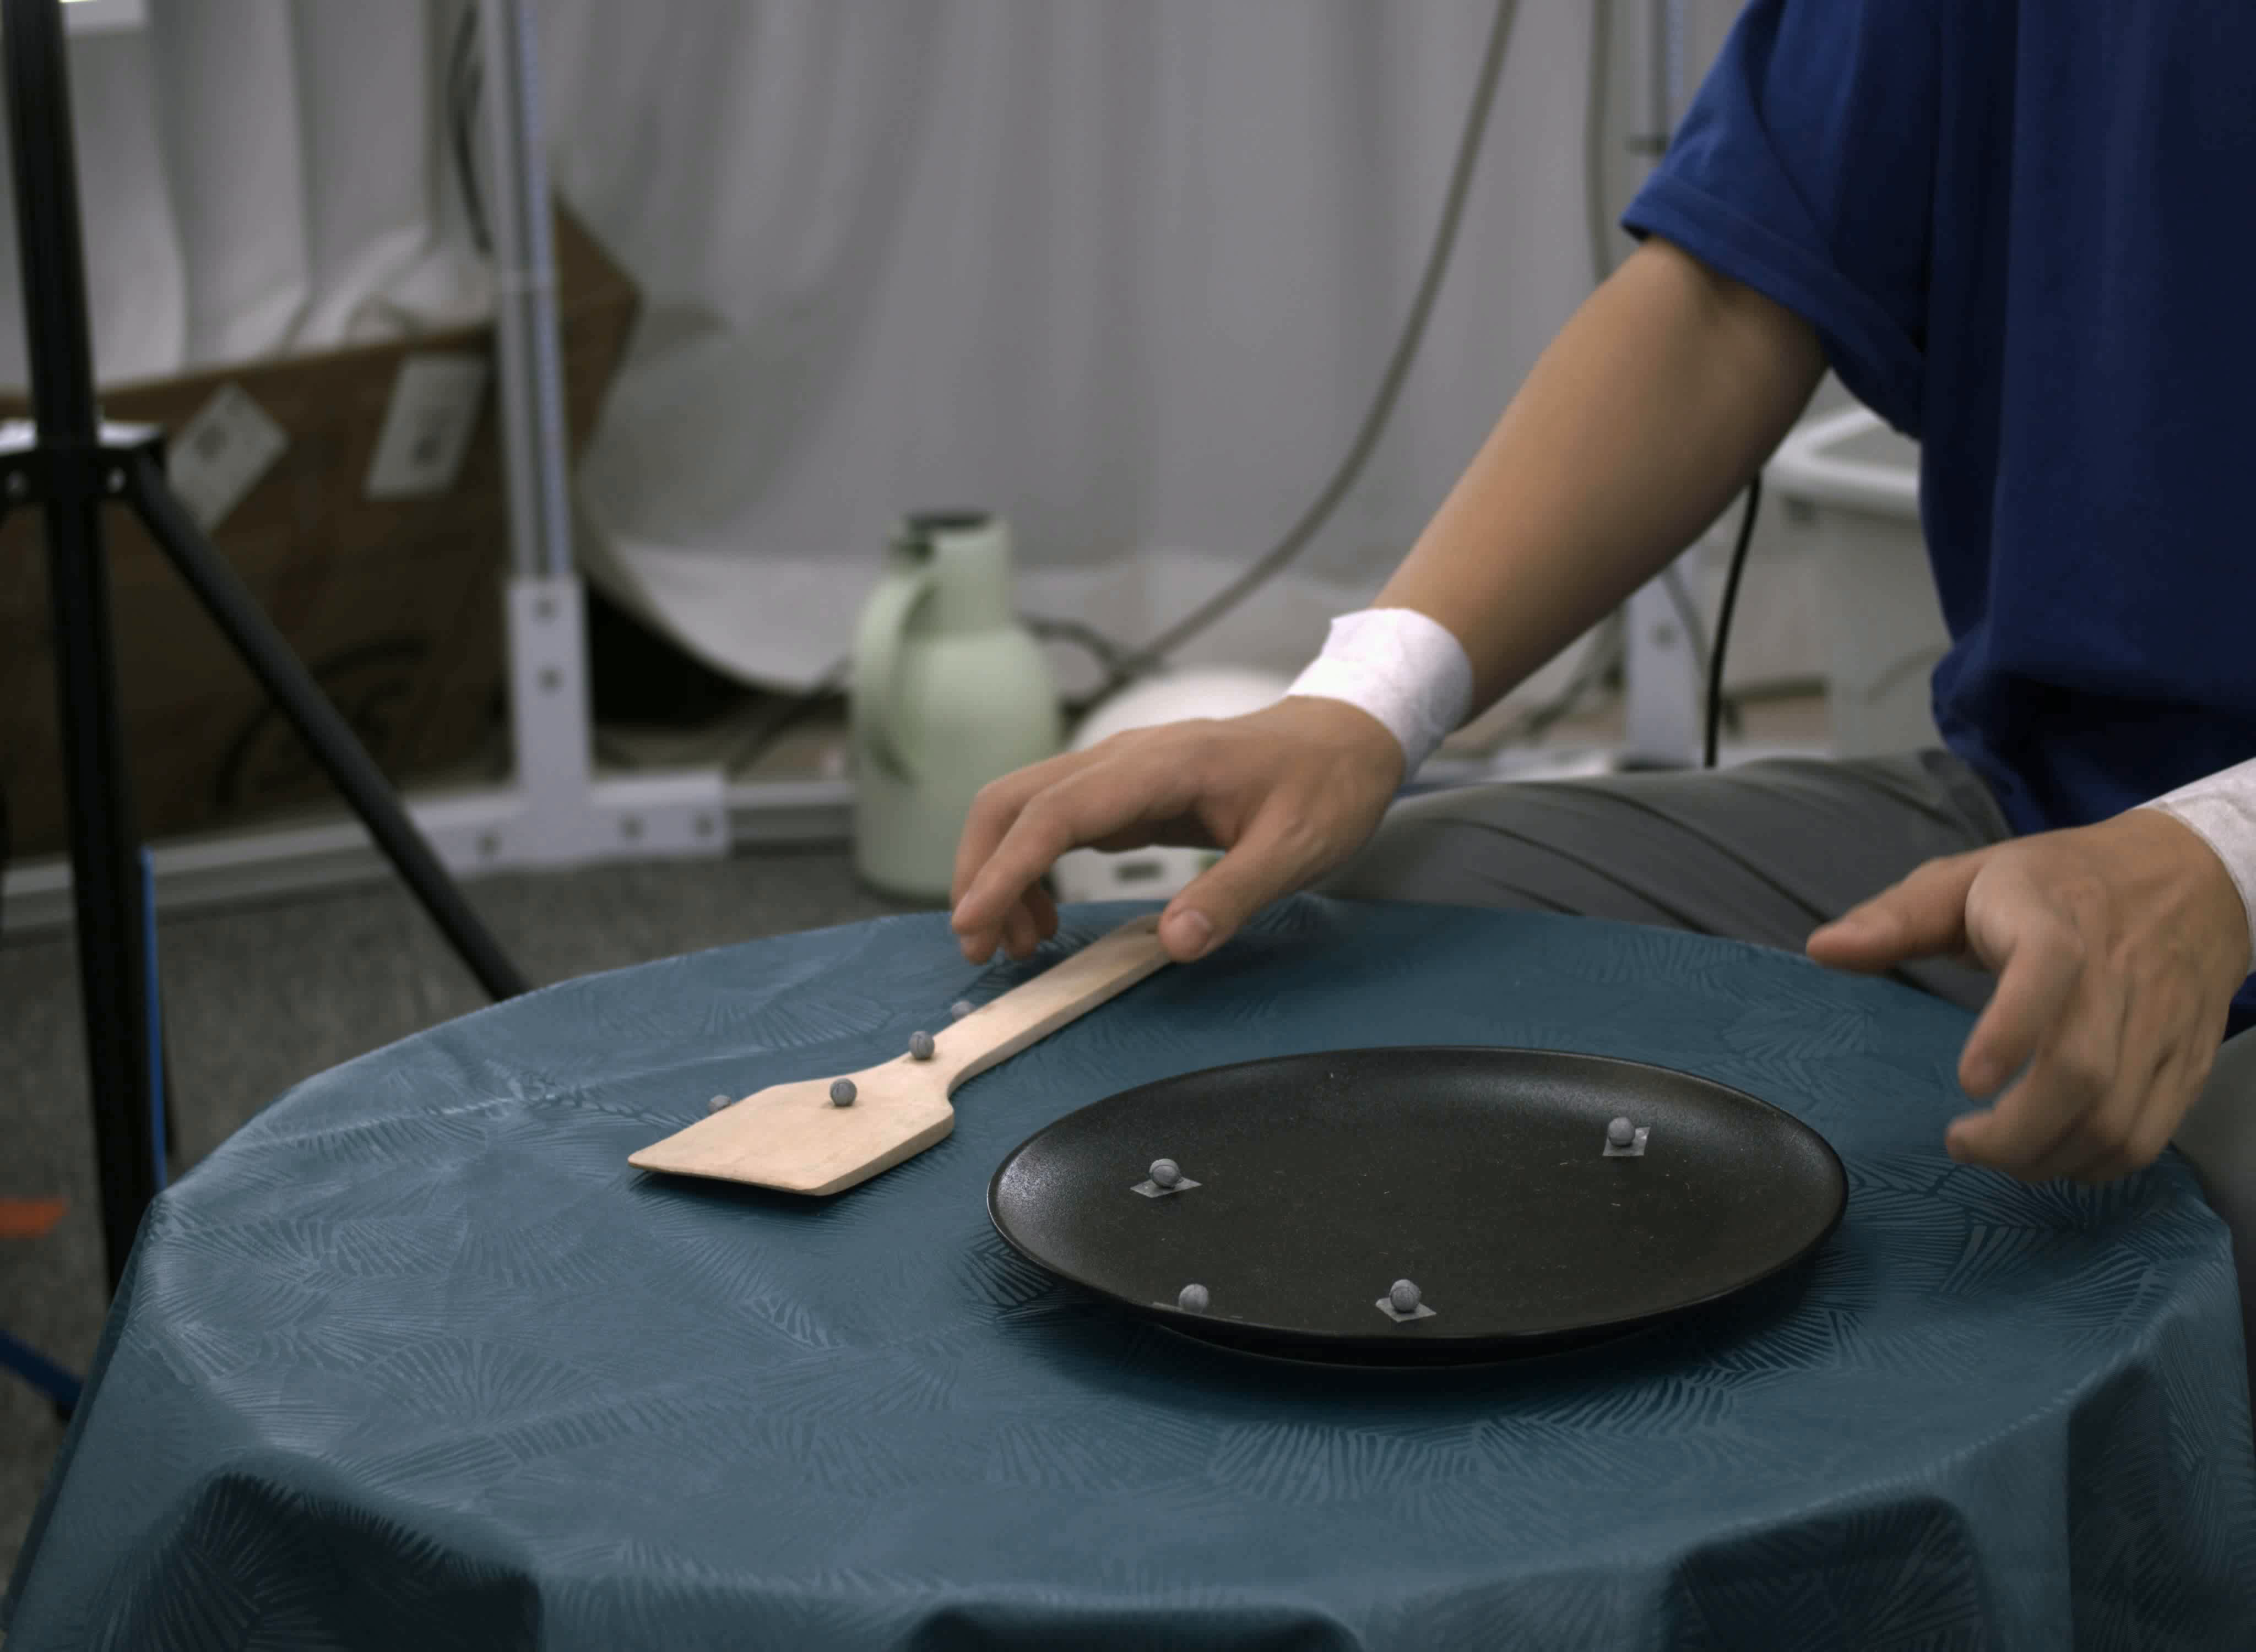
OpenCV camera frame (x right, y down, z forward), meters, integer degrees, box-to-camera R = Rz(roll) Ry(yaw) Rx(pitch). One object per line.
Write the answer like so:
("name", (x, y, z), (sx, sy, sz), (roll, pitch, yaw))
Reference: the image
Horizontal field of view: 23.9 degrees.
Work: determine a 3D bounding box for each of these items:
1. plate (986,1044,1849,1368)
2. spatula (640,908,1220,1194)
("plate", (0.081, 0.110, 1.496), (0.243, 0.023, 0.245), (-3, 16, -1))
("spatula", (-0.049, 0.068, 1.688), (0.073, 0.010, 0.288), (5, 18, 29))
